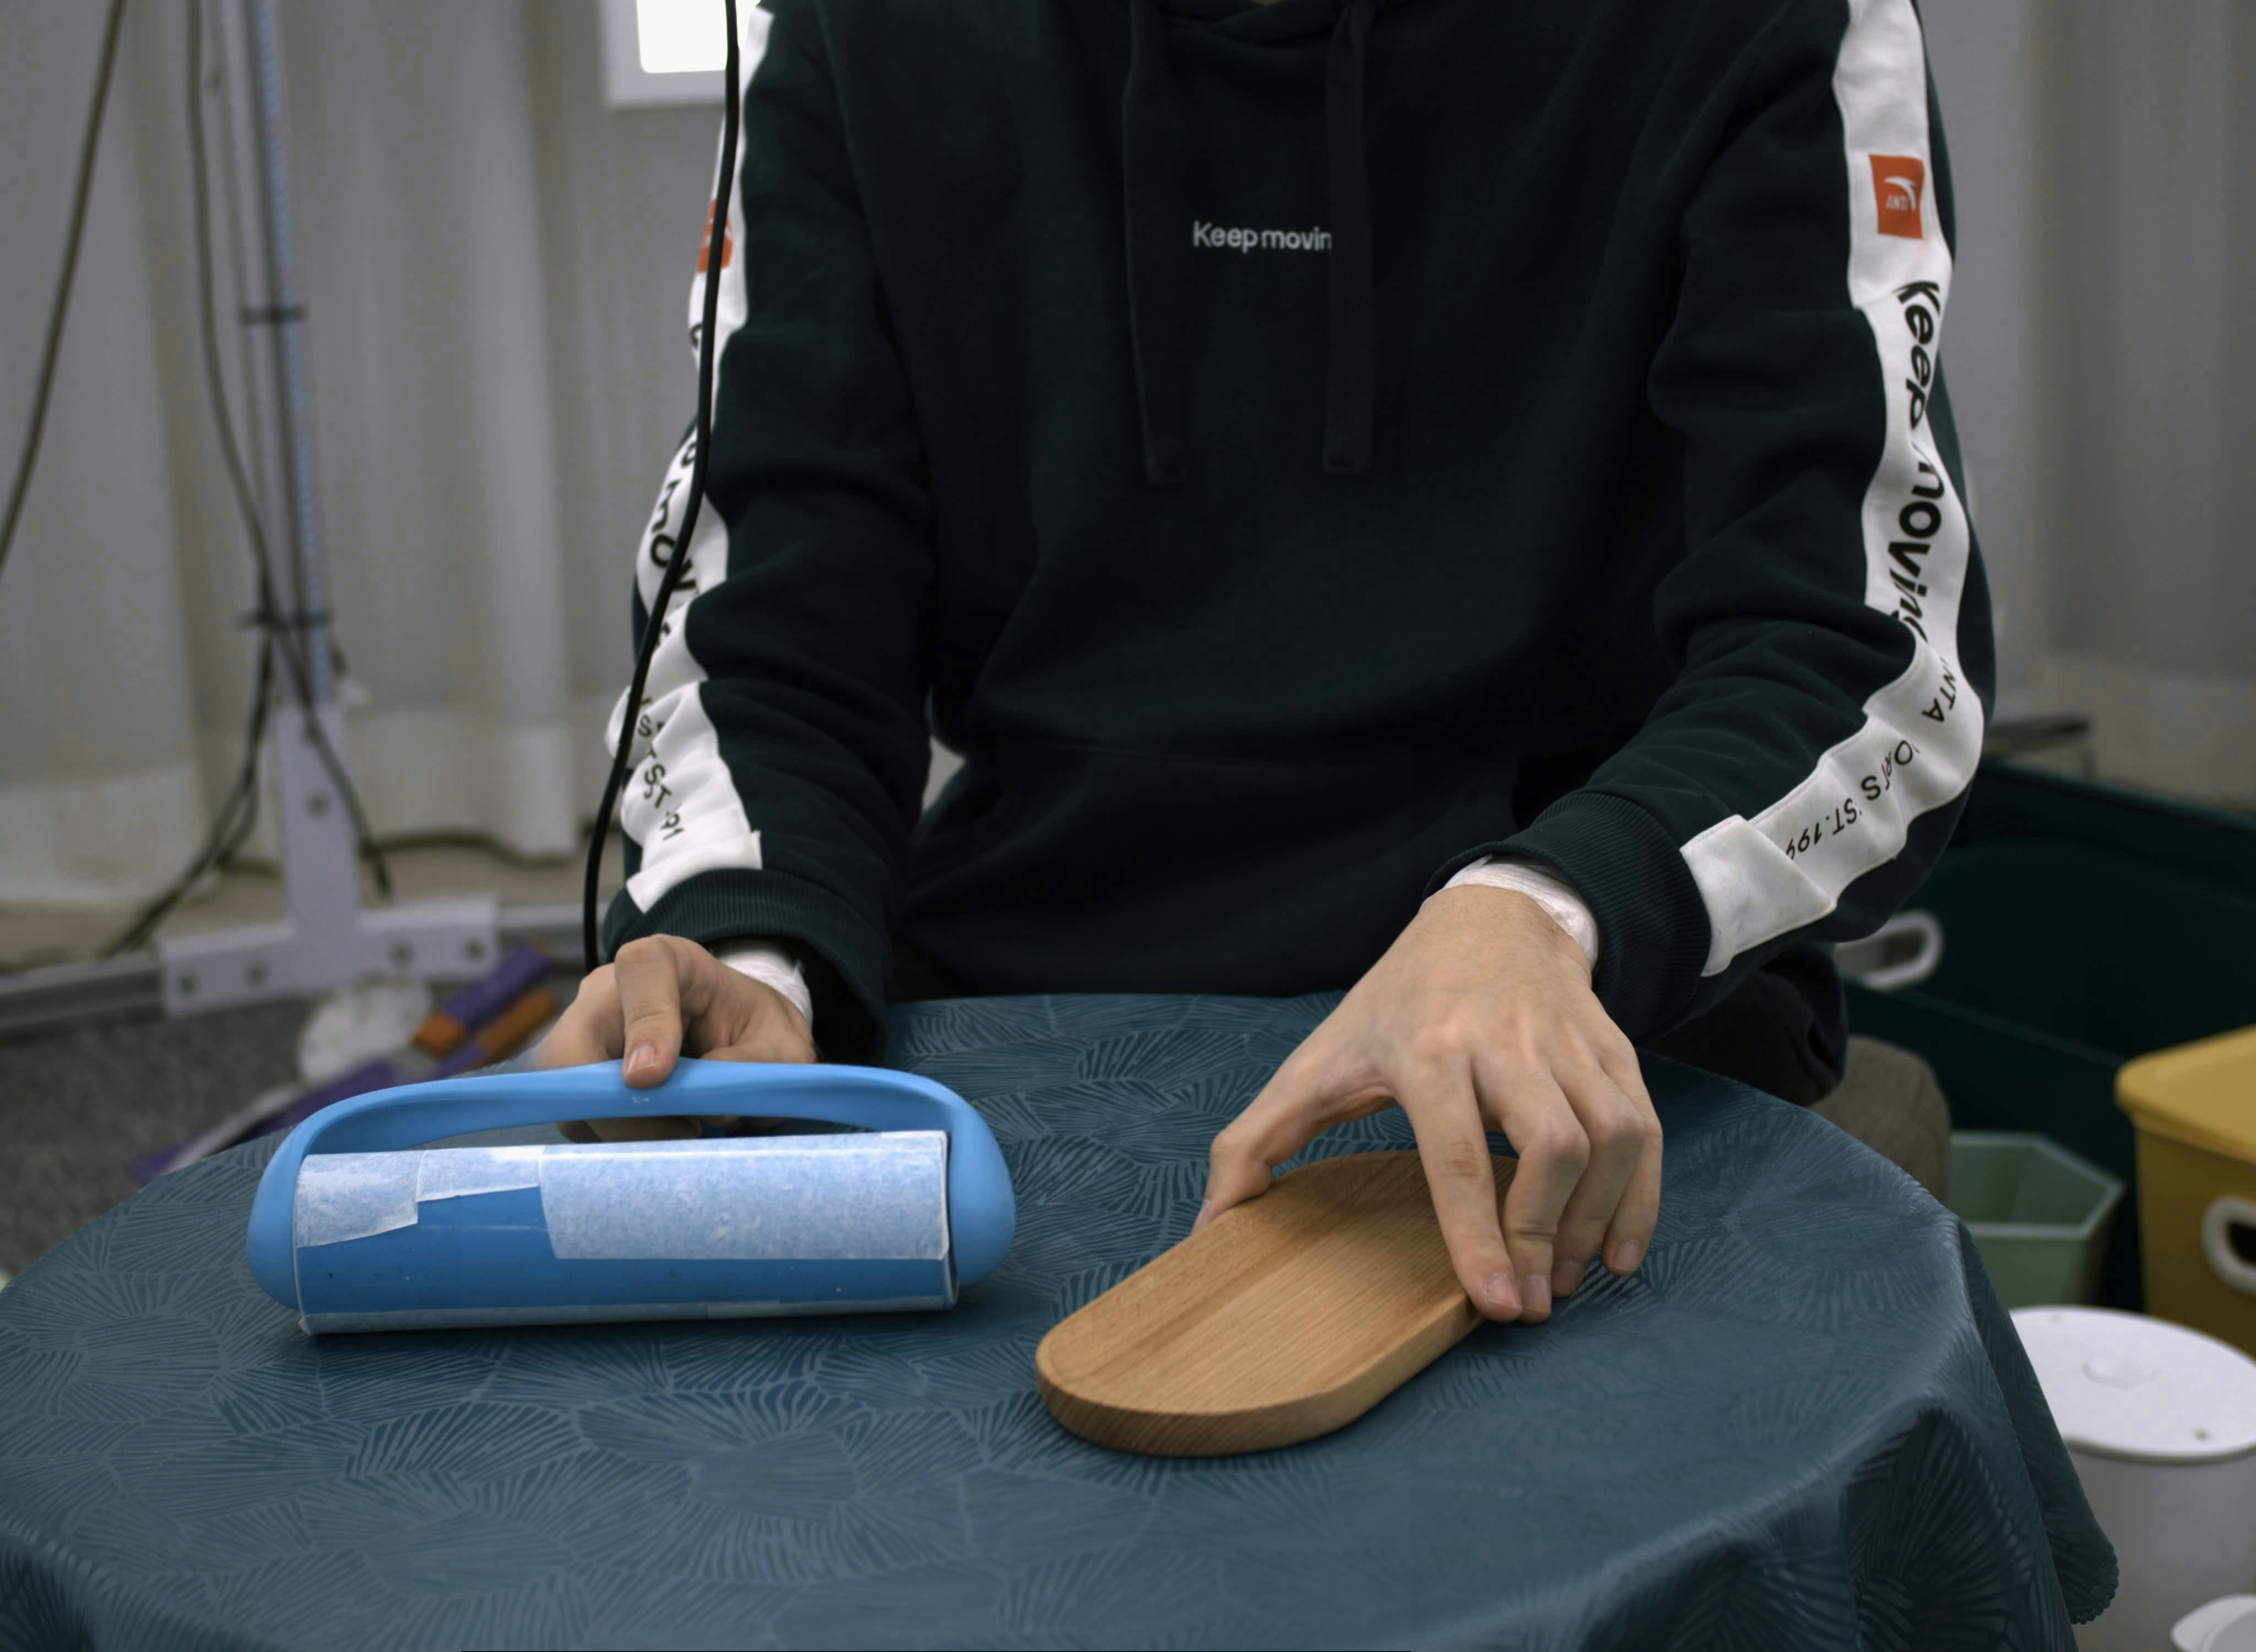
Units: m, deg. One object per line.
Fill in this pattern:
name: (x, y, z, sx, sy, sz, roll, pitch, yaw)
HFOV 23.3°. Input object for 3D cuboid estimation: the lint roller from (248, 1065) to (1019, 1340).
lint roller: (-0.148, 0.104, 1.675, 0.228, 0.067, 0.181, -5, 16, 0)

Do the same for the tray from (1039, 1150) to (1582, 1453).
tray: (0.056, 0.136, 1.592, 0.102, 0.020, 0.231, 6, 16, 27)
